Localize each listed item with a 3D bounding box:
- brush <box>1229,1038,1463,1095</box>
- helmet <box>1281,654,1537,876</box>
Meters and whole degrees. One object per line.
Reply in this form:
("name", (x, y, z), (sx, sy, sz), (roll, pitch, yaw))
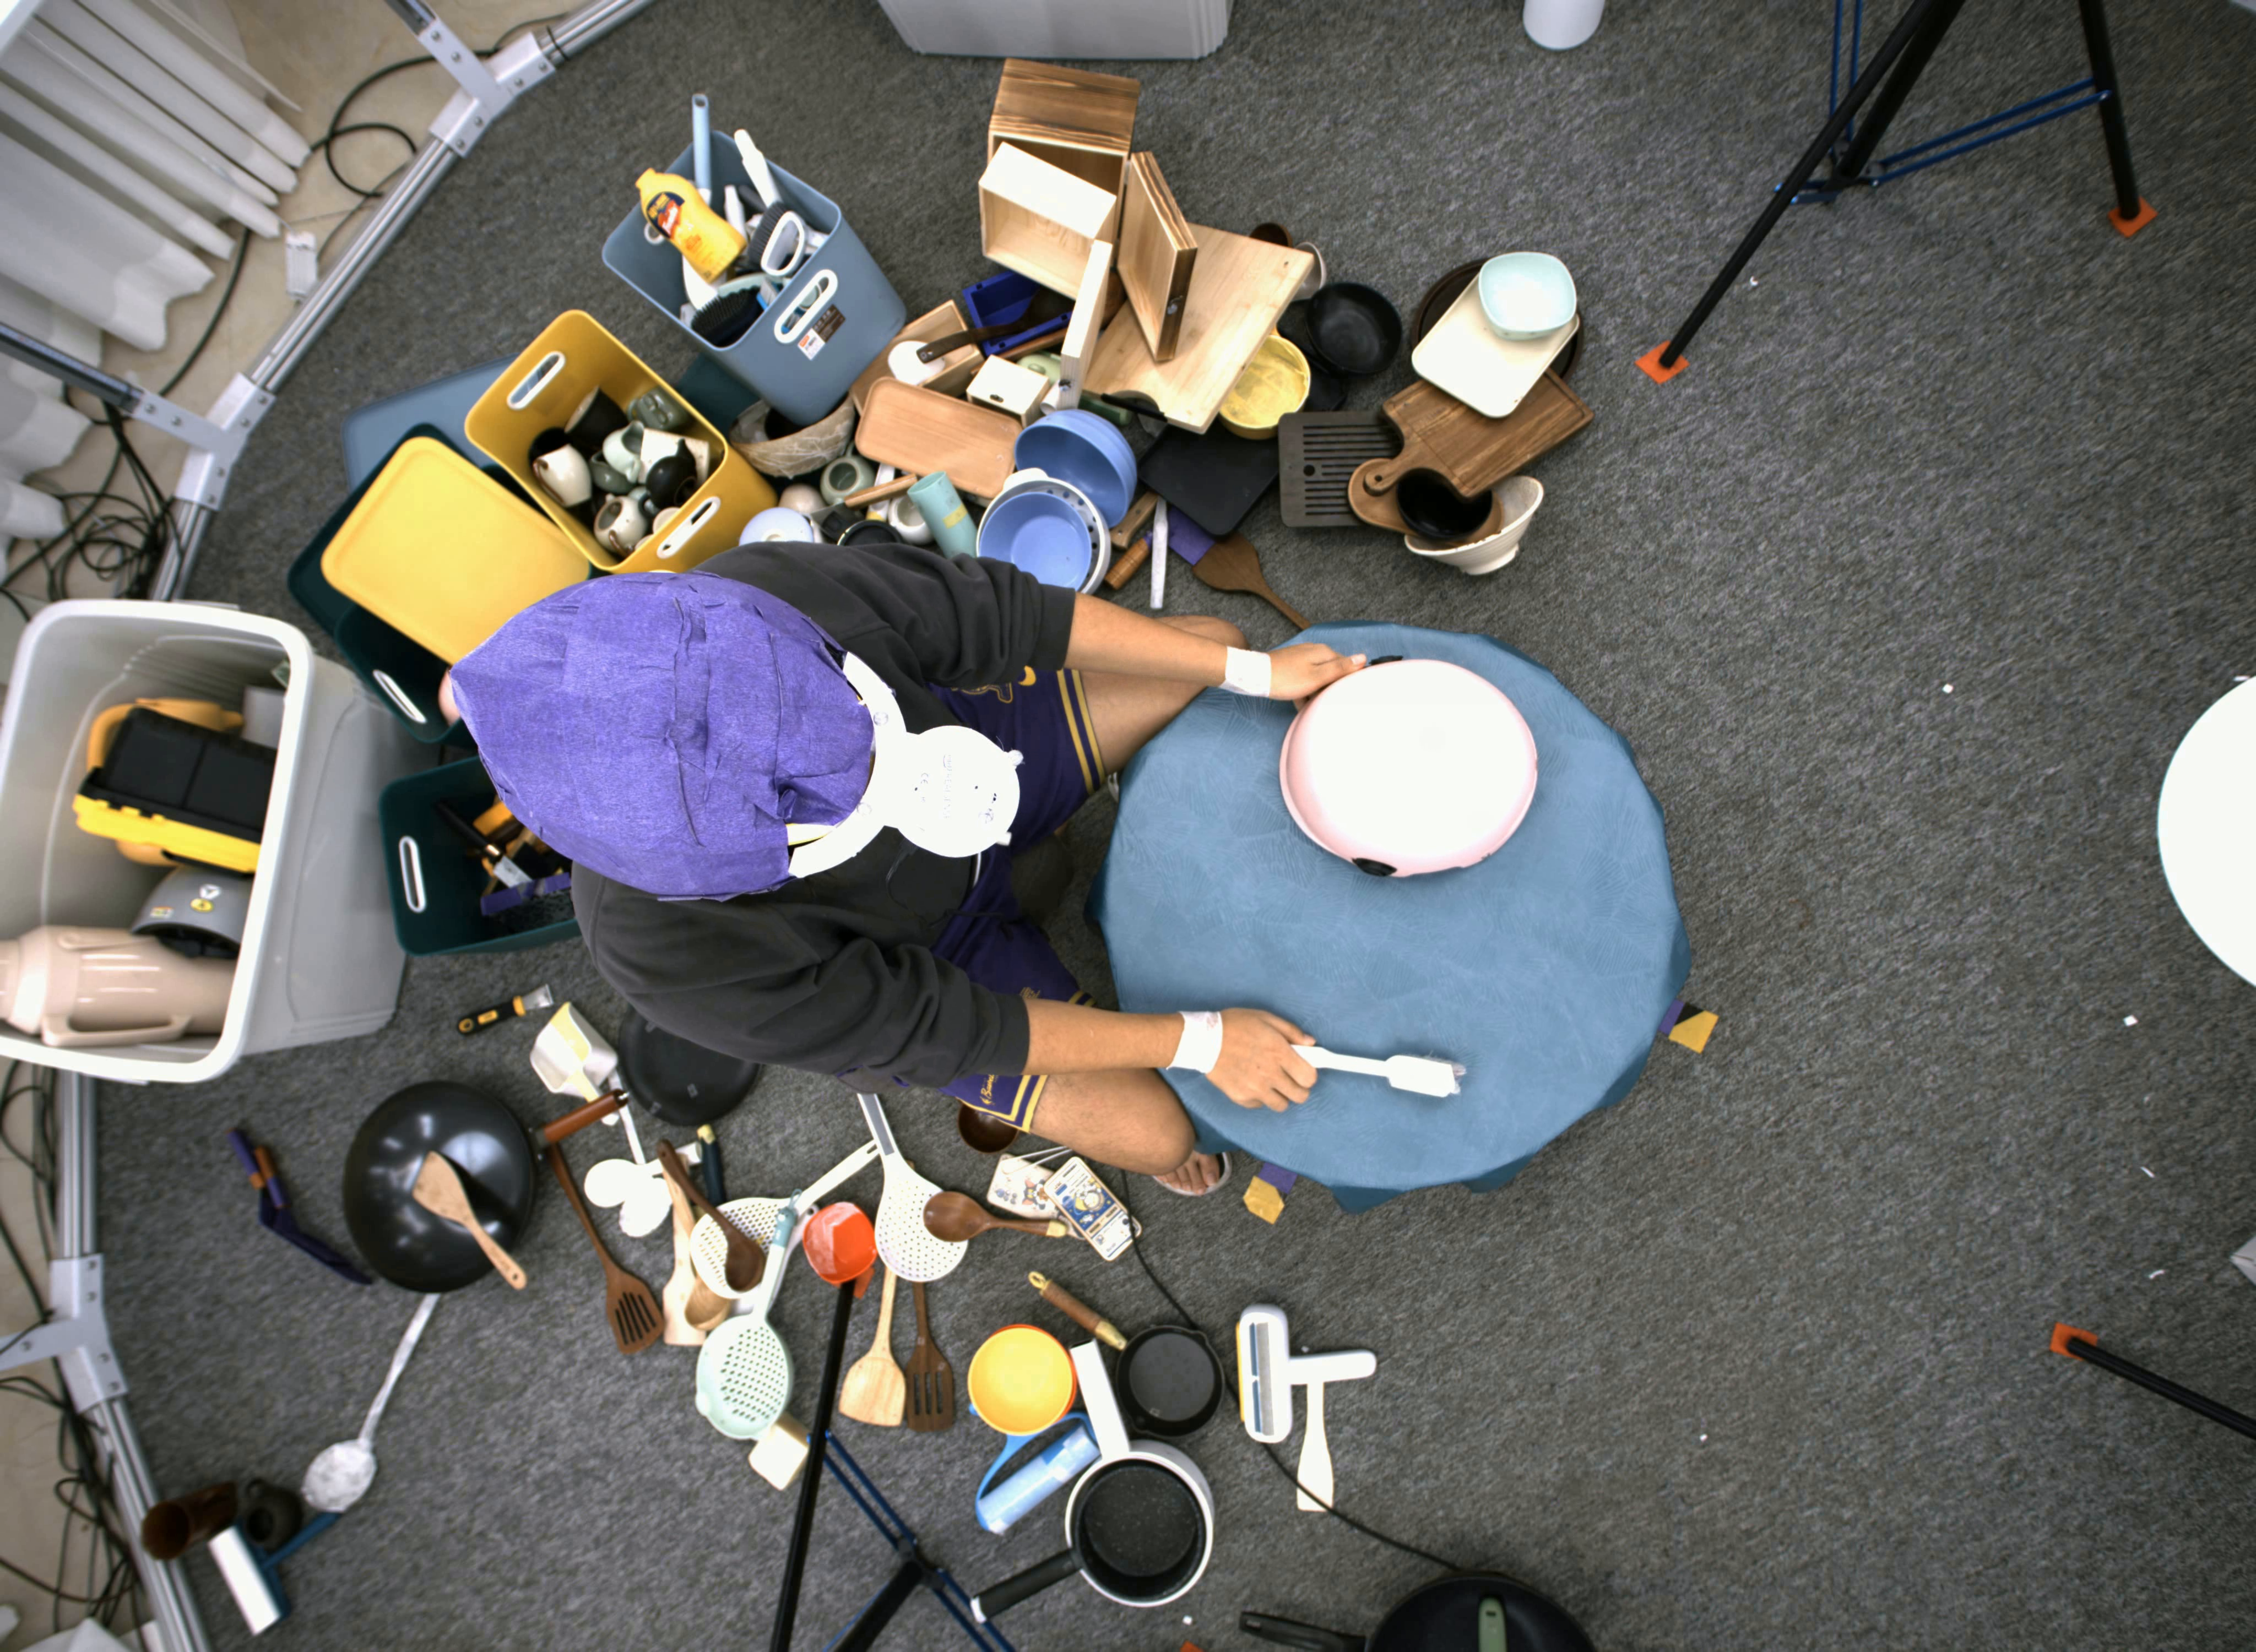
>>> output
("brush", (0.226, 0.246, 1.447), (0.245, 0.050, 0.034), (5, 88, 24))
("helmet", (0.278, -0.069, 1.389), (0.267, 0.158, 0.233), (2, 88, 15))
